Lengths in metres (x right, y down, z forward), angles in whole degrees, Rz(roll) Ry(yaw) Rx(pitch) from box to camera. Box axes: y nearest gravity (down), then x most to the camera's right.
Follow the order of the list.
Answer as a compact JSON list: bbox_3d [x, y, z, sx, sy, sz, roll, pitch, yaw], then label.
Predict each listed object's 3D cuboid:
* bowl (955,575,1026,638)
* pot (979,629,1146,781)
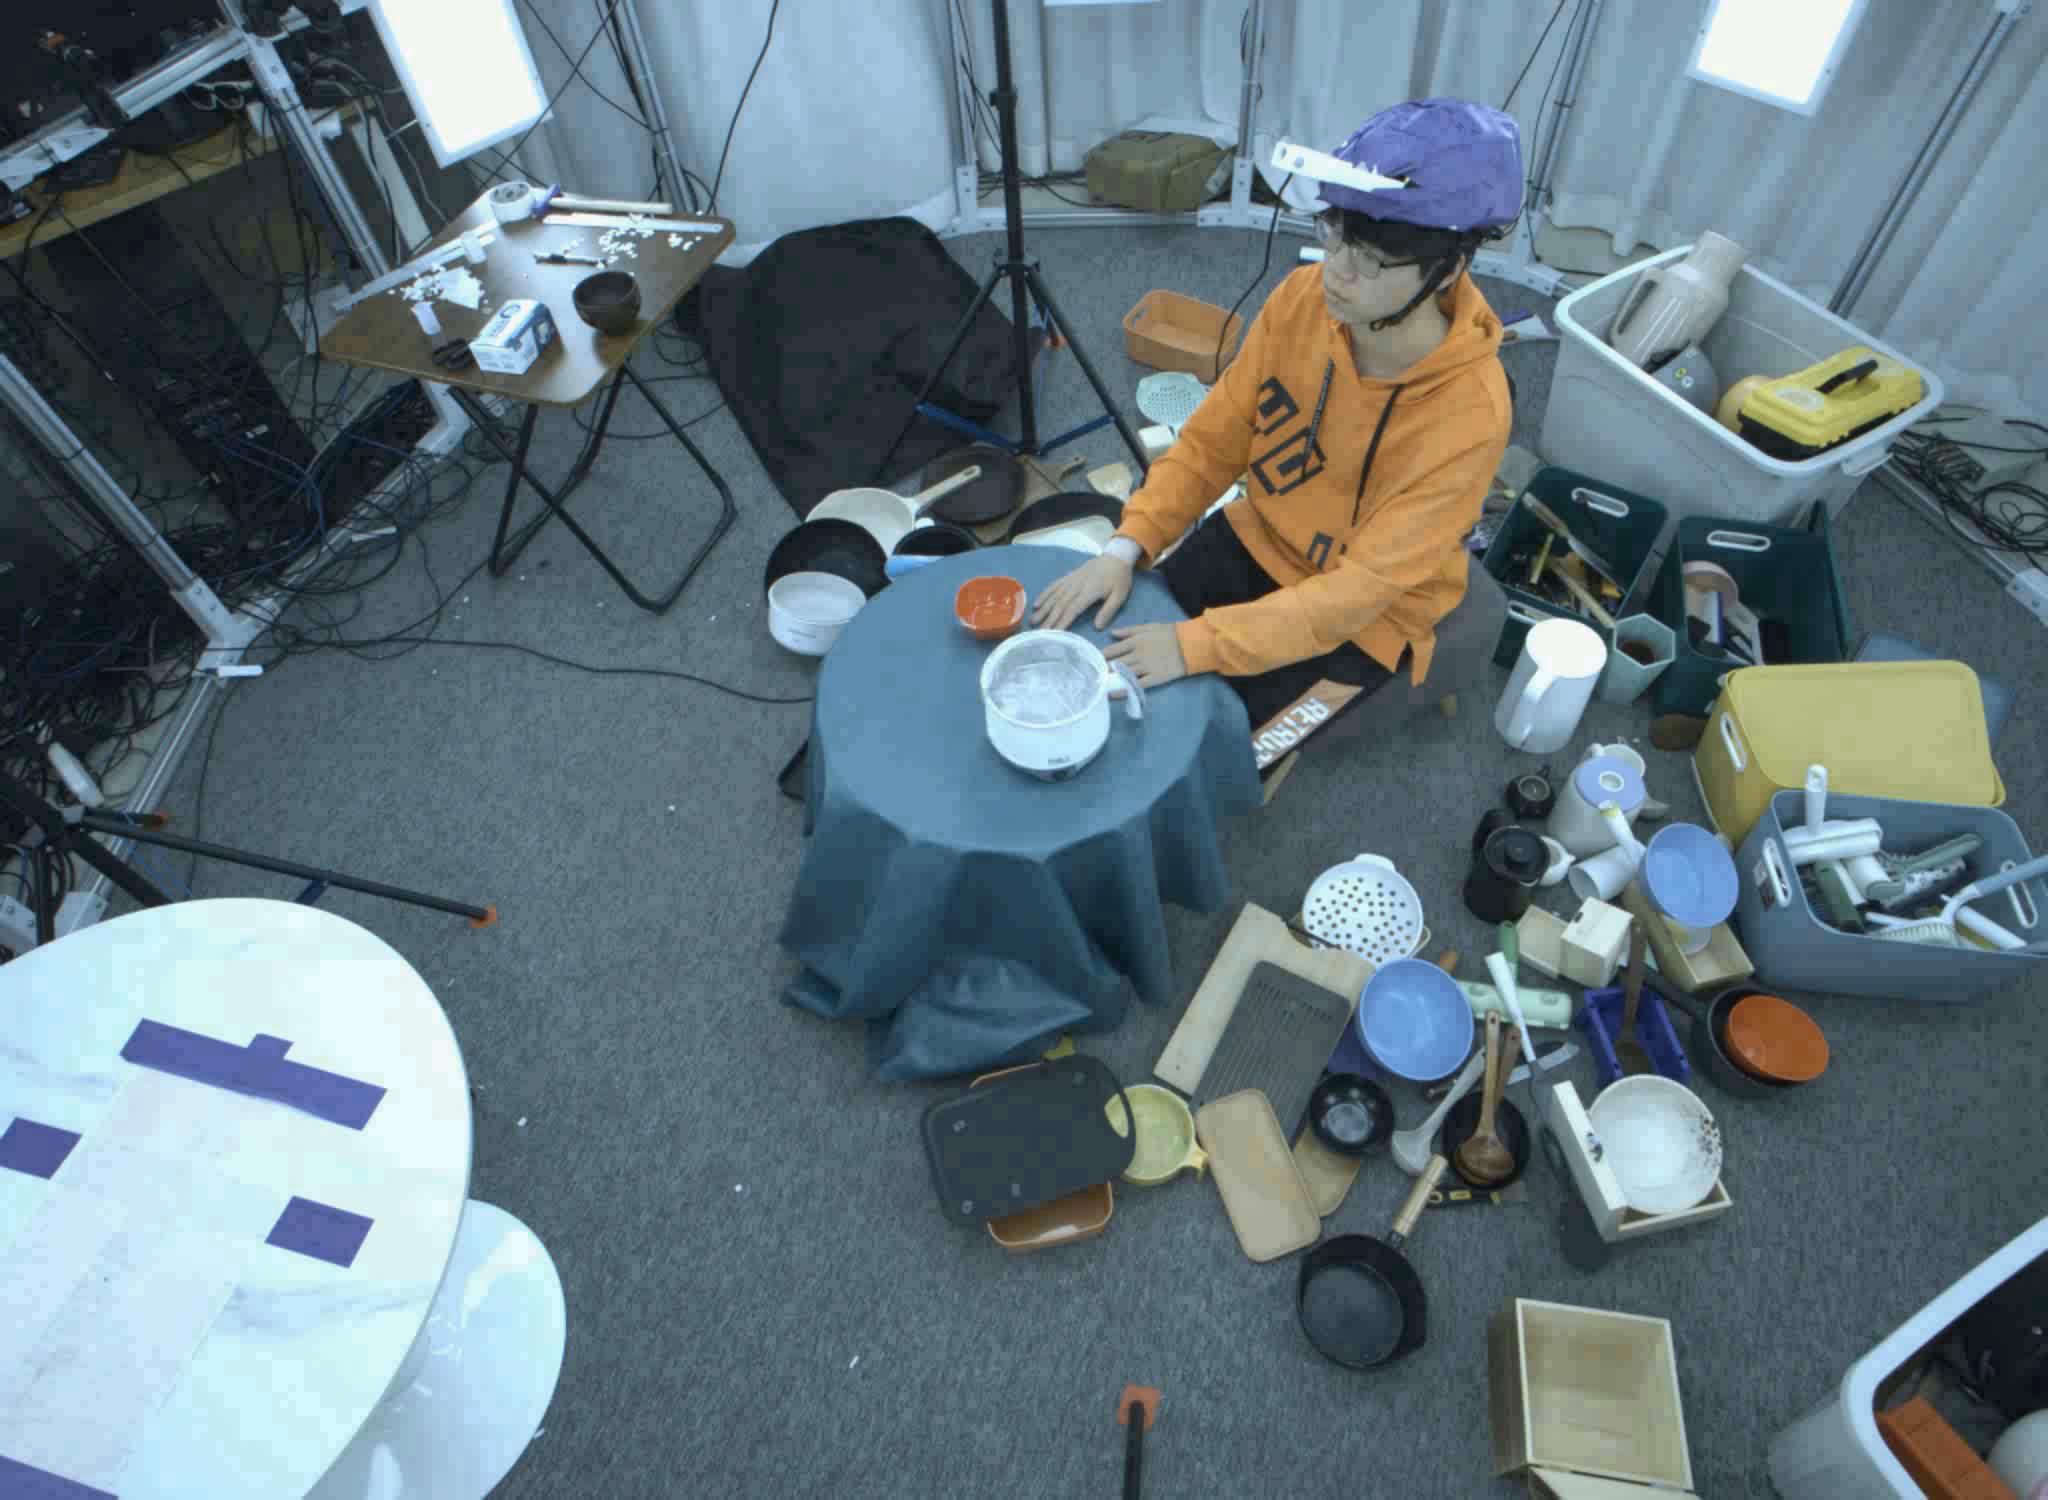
[{"bbox_3d":[-0.050,-0.216,1.910,0.119,0.052,0.117,-1,54,3],"label":"bowl"},{"bbox_3d":[0.058,-0.068,1.748,0.234,0.138,0.176,-11,55,-5],"label":"pot"}]
